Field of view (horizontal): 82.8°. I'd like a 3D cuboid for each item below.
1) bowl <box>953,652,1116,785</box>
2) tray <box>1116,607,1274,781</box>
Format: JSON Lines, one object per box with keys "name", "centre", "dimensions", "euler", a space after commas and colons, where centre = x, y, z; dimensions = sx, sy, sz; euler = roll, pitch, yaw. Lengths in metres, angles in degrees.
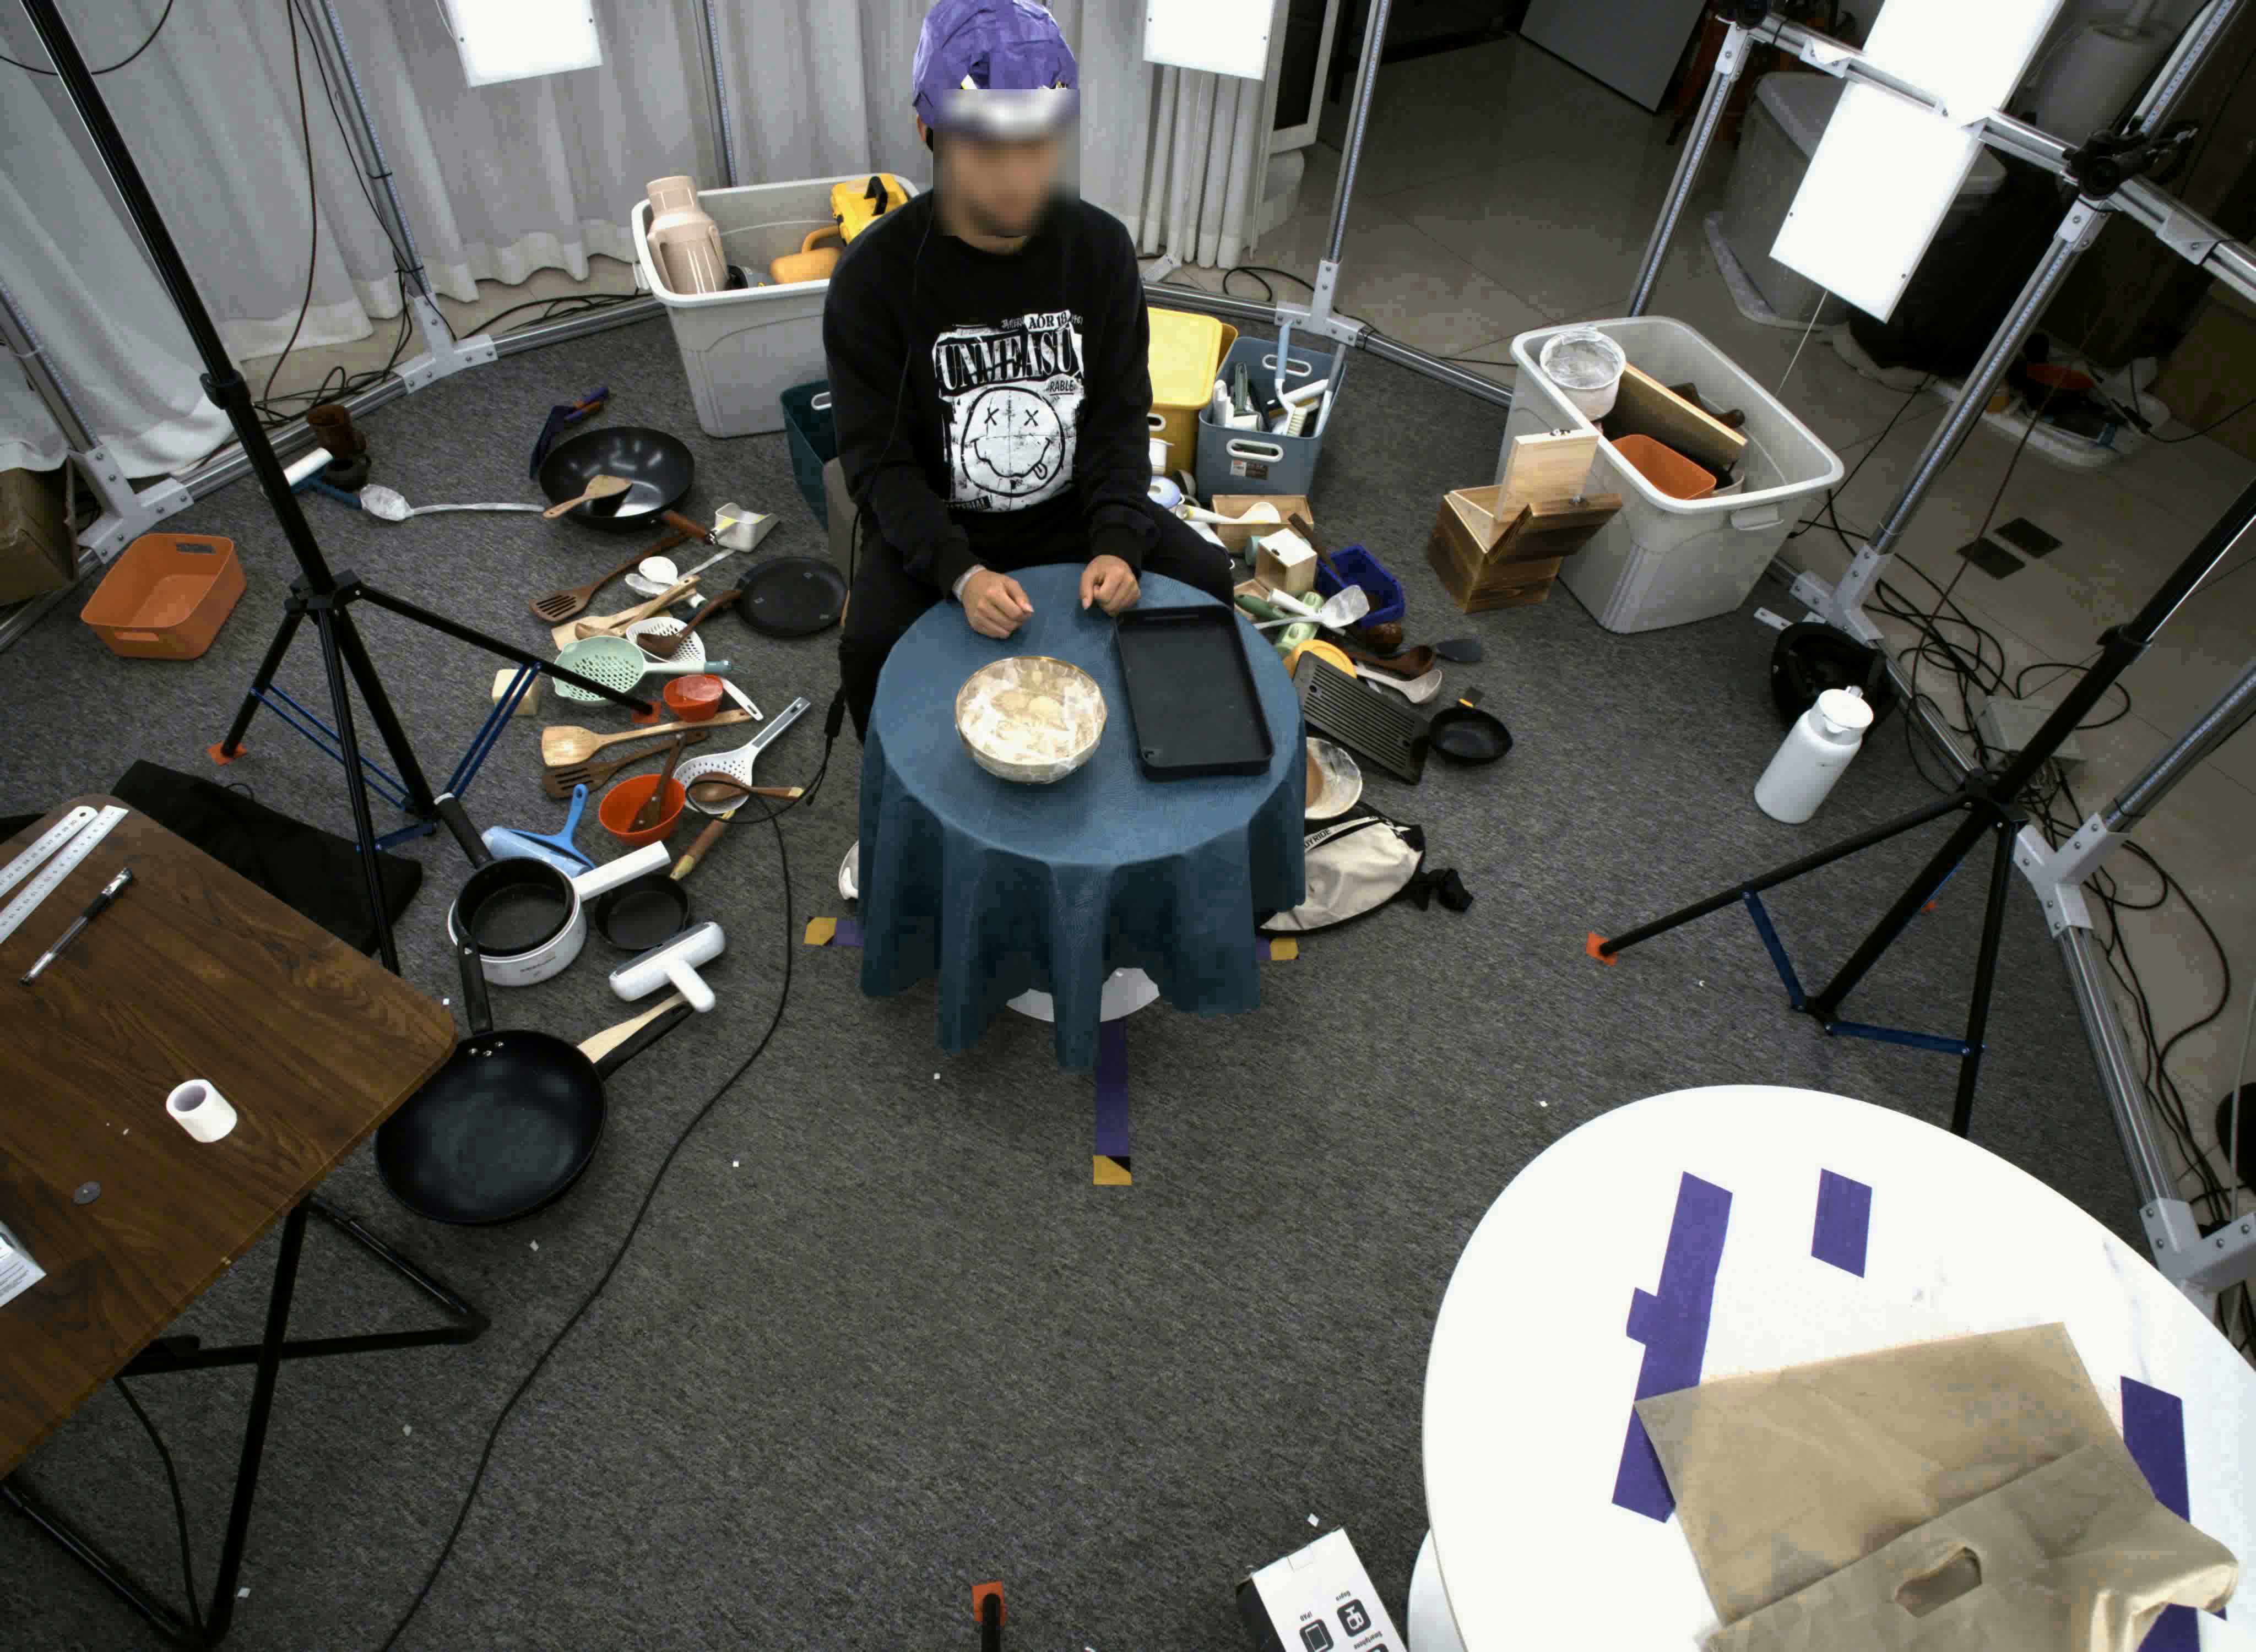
{"name": "bowl", "centre": [-0.127, -0.129, 1.728], "dimensions": [0.214, 0.092, 0.220], "euler": [1, 49, -1]}
{"name": "tray", "centre": [0.089, -0.194, 1.834], "dimensions": [0.184, 0.036, 0.326], "euler": [-4, 48, -6]}
